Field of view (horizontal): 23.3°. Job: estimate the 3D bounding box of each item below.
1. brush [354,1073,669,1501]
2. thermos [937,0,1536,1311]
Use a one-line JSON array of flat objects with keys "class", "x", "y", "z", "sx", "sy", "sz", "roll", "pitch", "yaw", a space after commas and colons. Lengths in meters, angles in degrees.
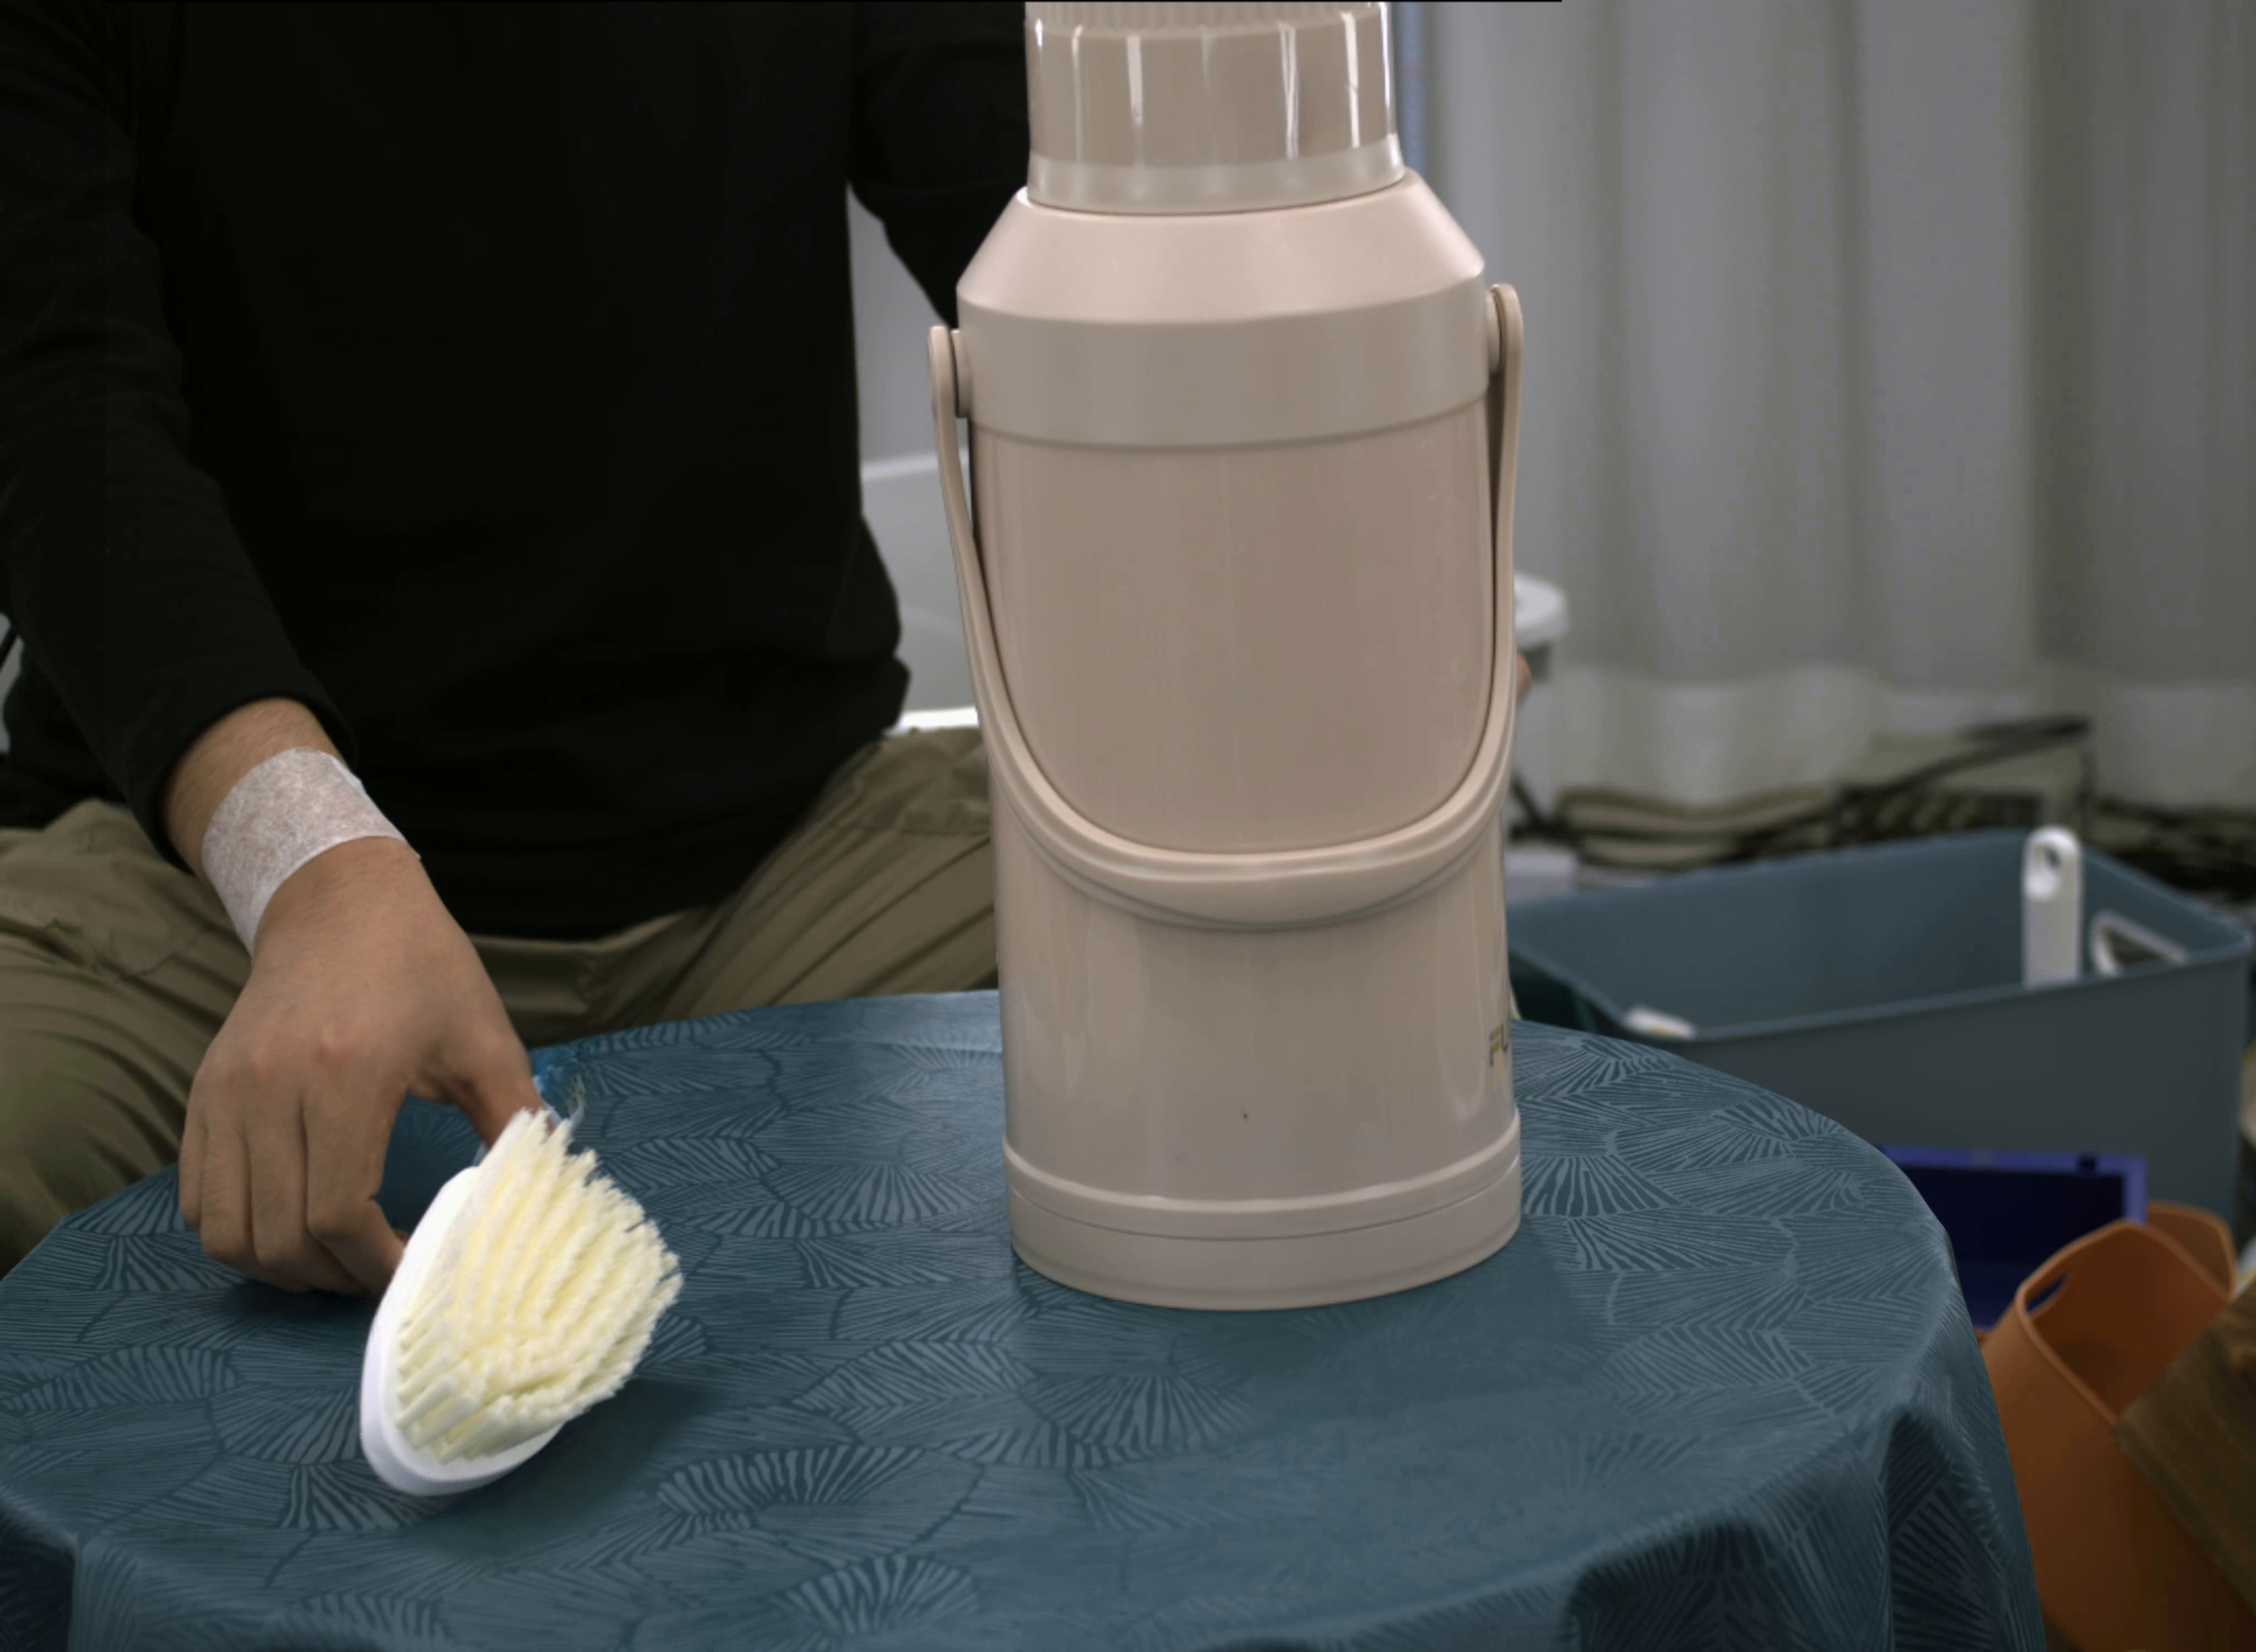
[{"class": "brush", "x": -0.172, "y": 0.109, "z": 1.623, "sx": 0.084, "sy": 0.083, "sz": 0.327, "roll": -3, "pitch": 15, "yaw": 2}, {"class": "thermos", "x": 0.034, "y": -0.073, "z": 1.647, "sx": 0.174, "sy": 0.405, "sz": 0.208, "roll": -6, "pitch": 14, "yaw": -7}]
